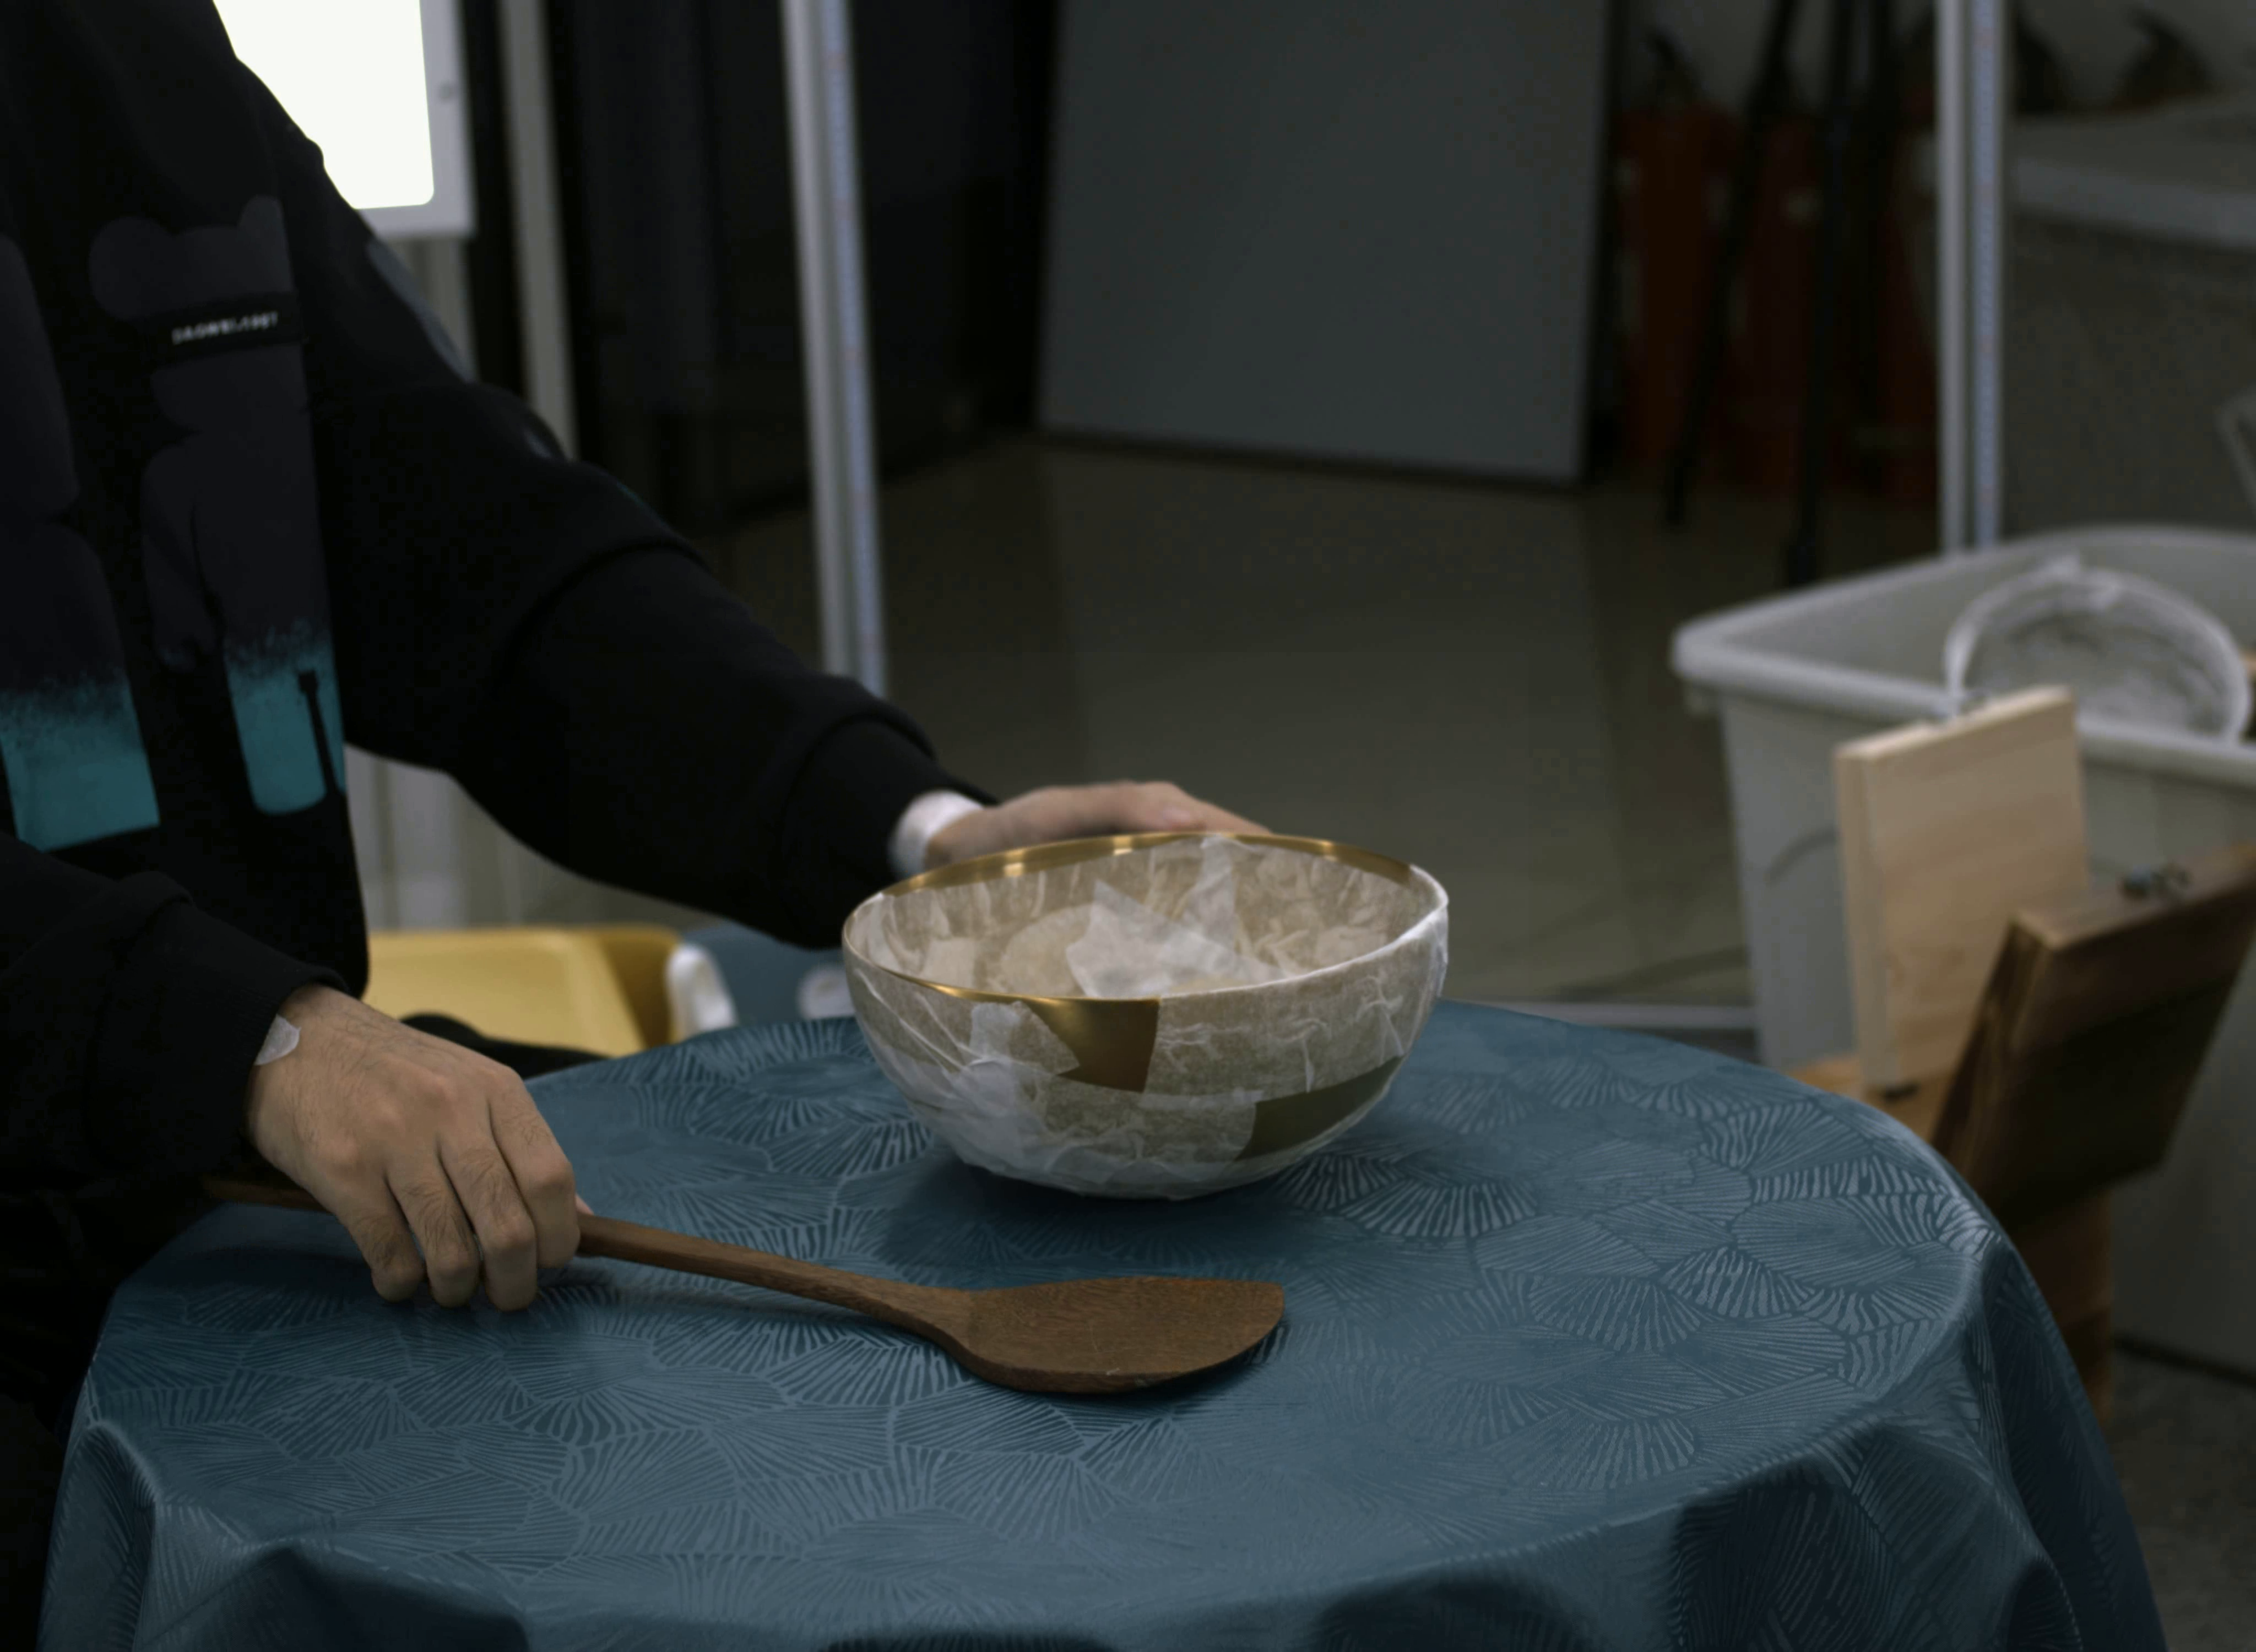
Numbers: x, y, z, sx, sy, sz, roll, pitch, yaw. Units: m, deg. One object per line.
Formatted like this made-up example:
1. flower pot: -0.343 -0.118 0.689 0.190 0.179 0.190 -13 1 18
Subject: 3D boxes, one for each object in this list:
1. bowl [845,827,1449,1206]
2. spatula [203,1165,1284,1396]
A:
1. bowl: 0.008 0.070 1.783 0.212 0.095 0.215 -6 14 1
2. spatula: -0.132 0.137 1.689 0.387 0.016 0.095 7 17 28
